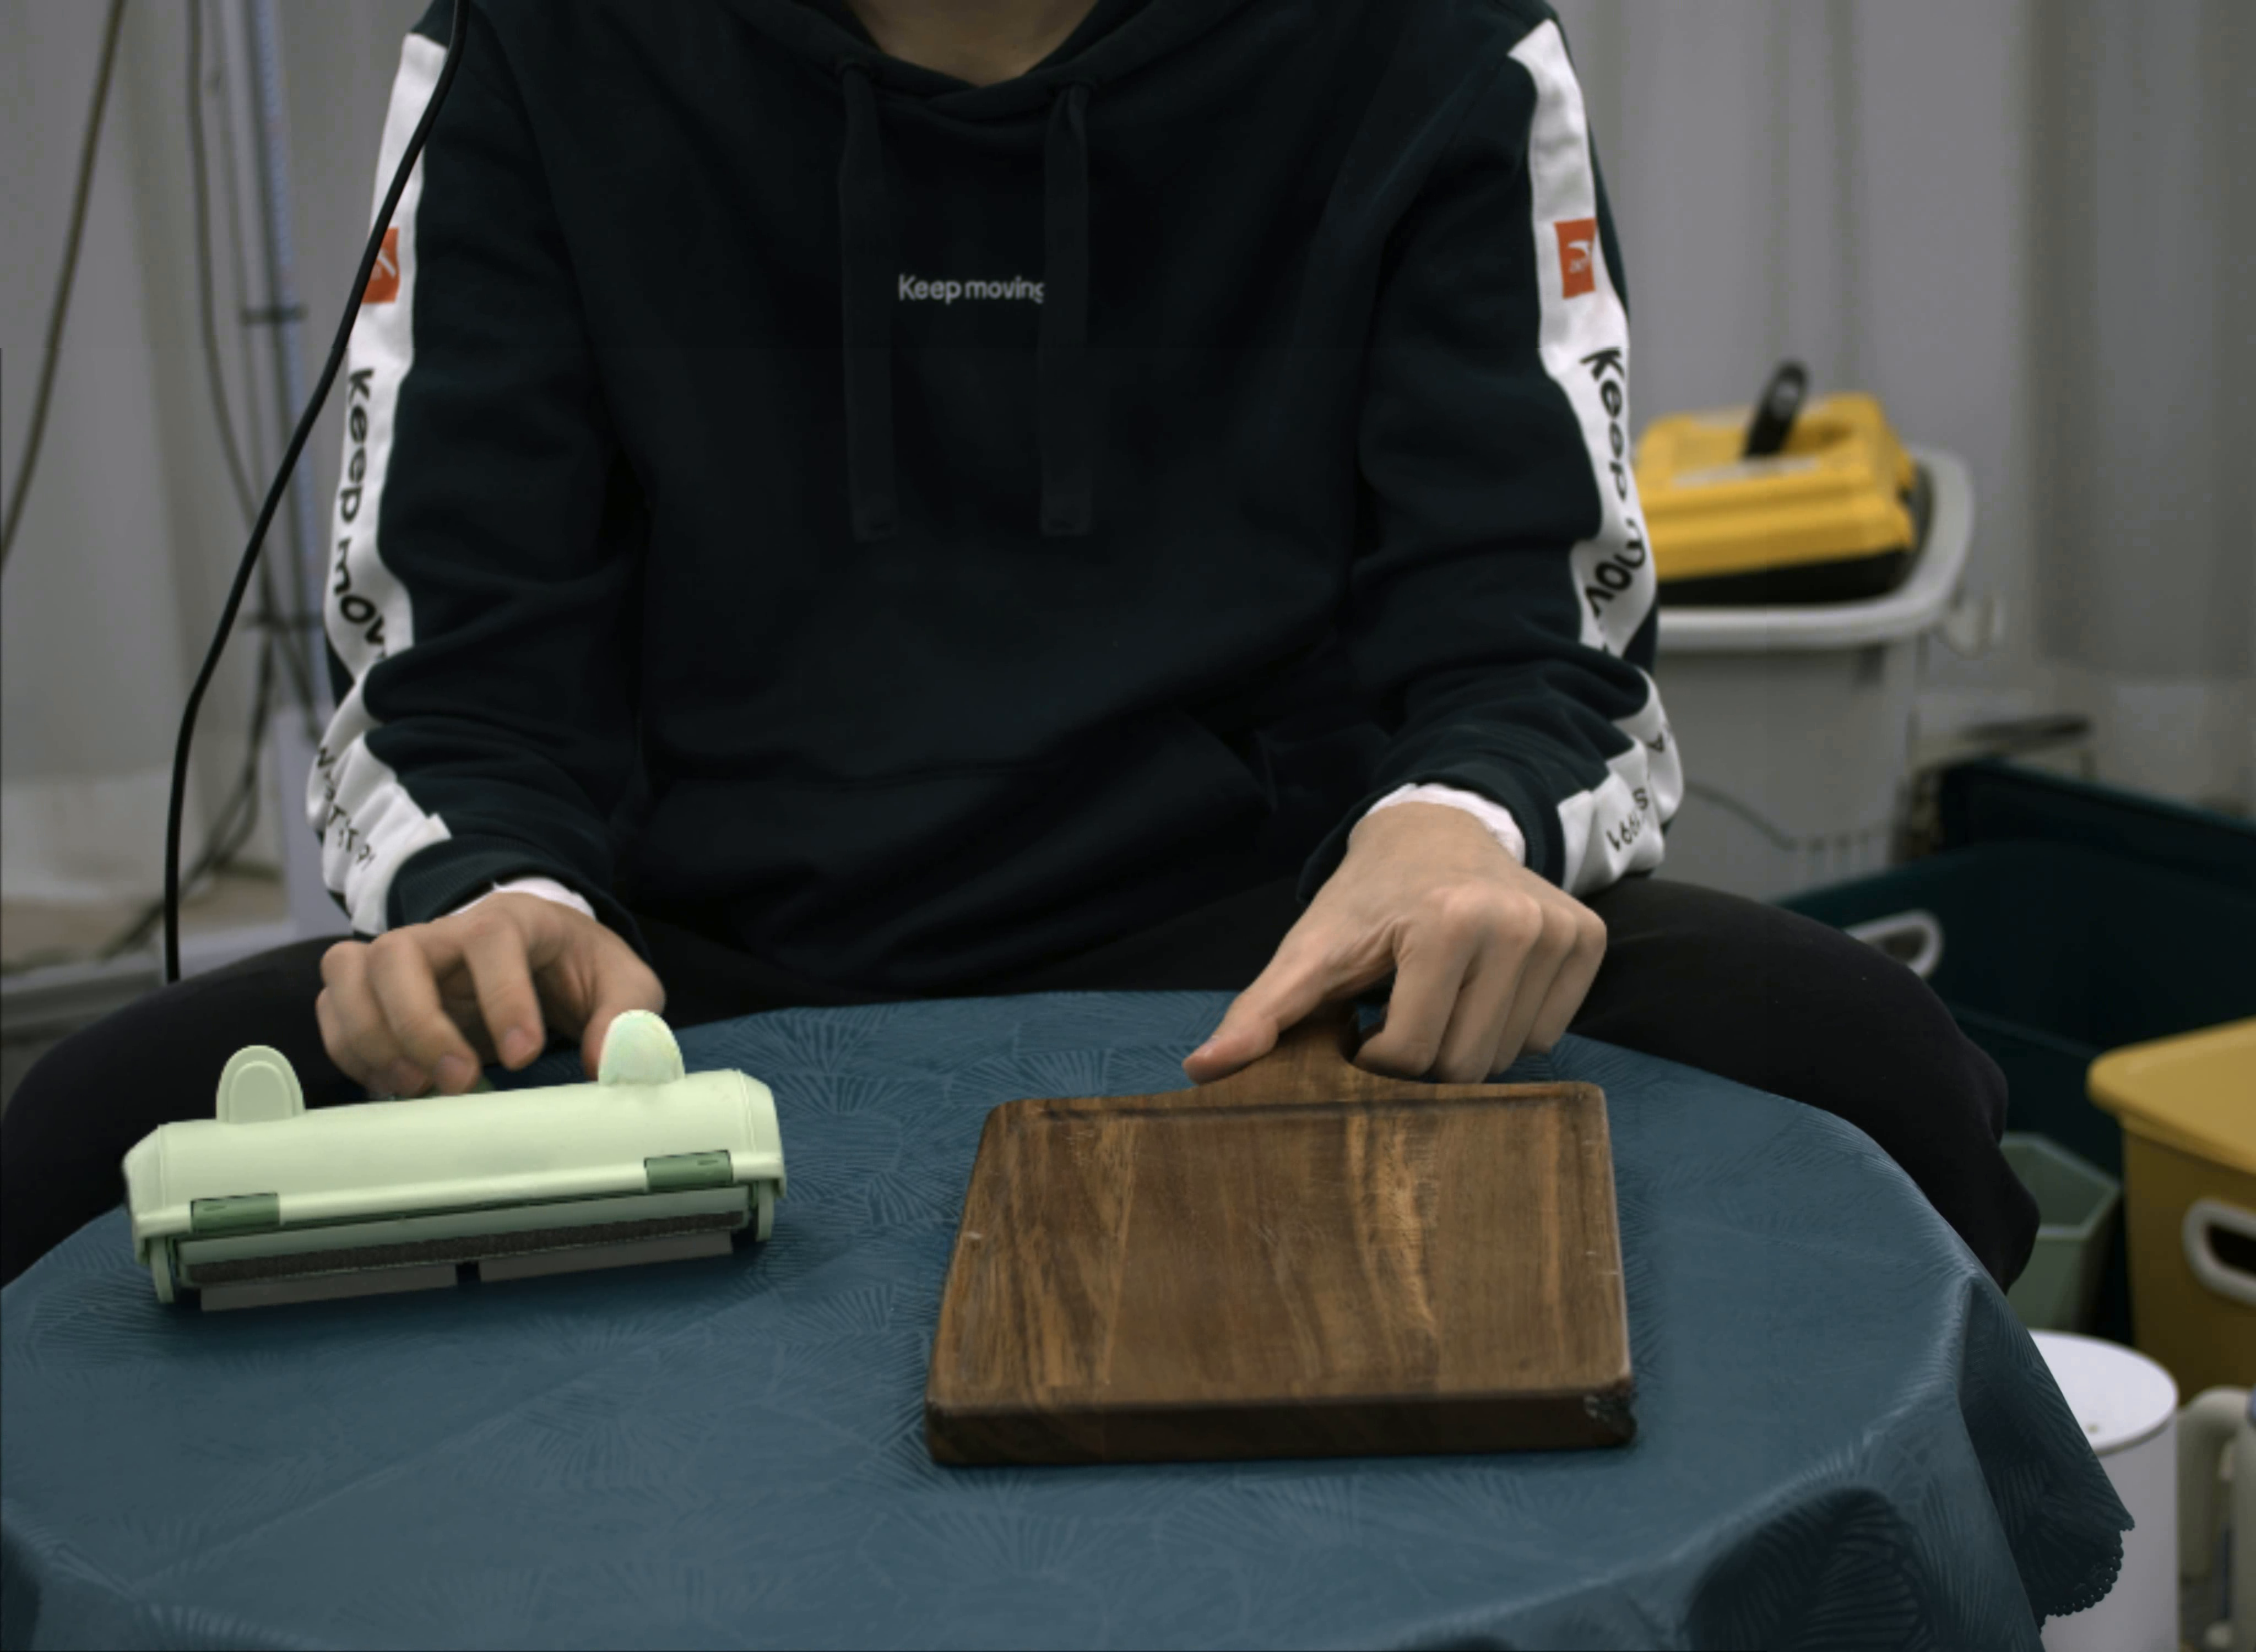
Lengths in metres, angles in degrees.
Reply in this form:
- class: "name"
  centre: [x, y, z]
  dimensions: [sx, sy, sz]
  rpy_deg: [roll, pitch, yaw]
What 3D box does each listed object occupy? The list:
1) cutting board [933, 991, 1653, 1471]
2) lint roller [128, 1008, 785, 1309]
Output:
- class: "cutting board"
  centre: [0.049, 0.114, 1.650]
  dimensions: [0.200, 0.023, 0.354]
  rpy_deg: [-2, 16, 3]
- class: "lint roller"
  centre: [-0.214, 0.086, 1.717]
  dimensions: [0.198, 0.082, 0.185]
  rpy_deg: [-6, 19, -8]
